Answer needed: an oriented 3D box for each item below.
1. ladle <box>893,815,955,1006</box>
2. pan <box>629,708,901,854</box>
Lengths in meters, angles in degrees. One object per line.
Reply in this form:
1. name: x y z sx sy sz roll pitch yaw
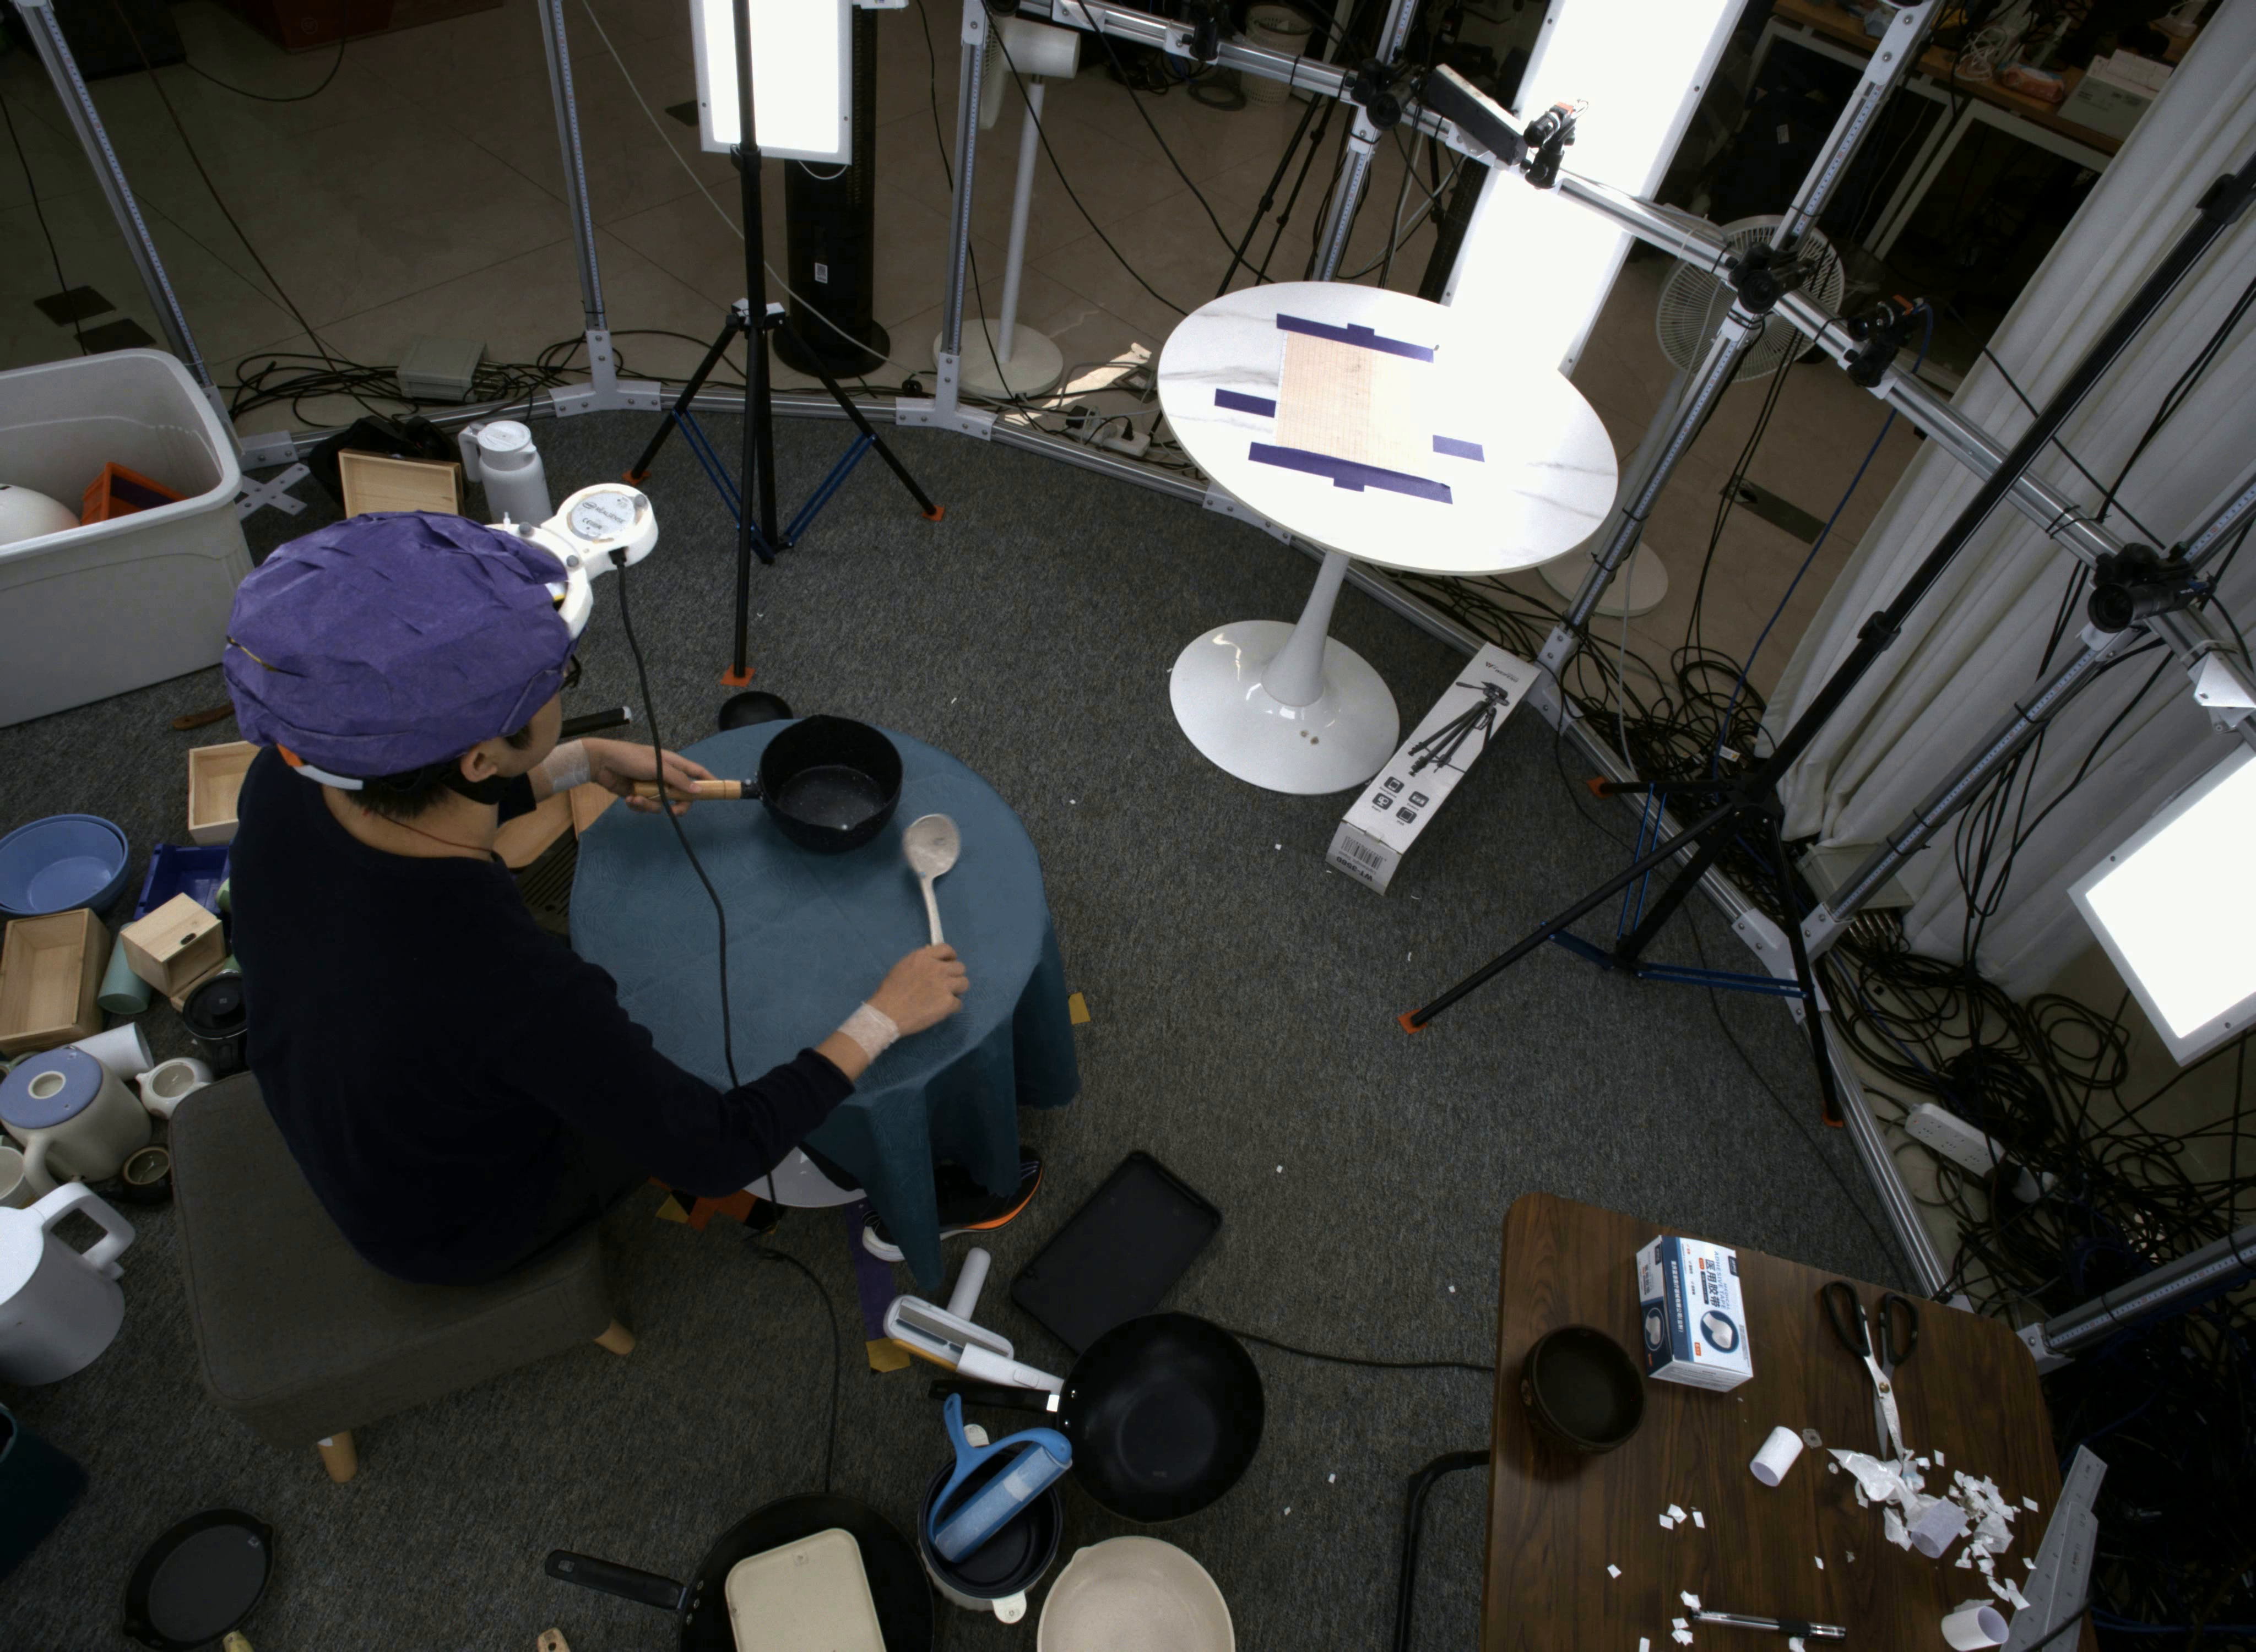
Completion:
1. ladle: -0.233 0.099 1.623 0.092 0.069 0.266 35 21 -46
2. pan: -0.464 -0.044 1.666 0.345 0.110 0.202 -9 57 -23
